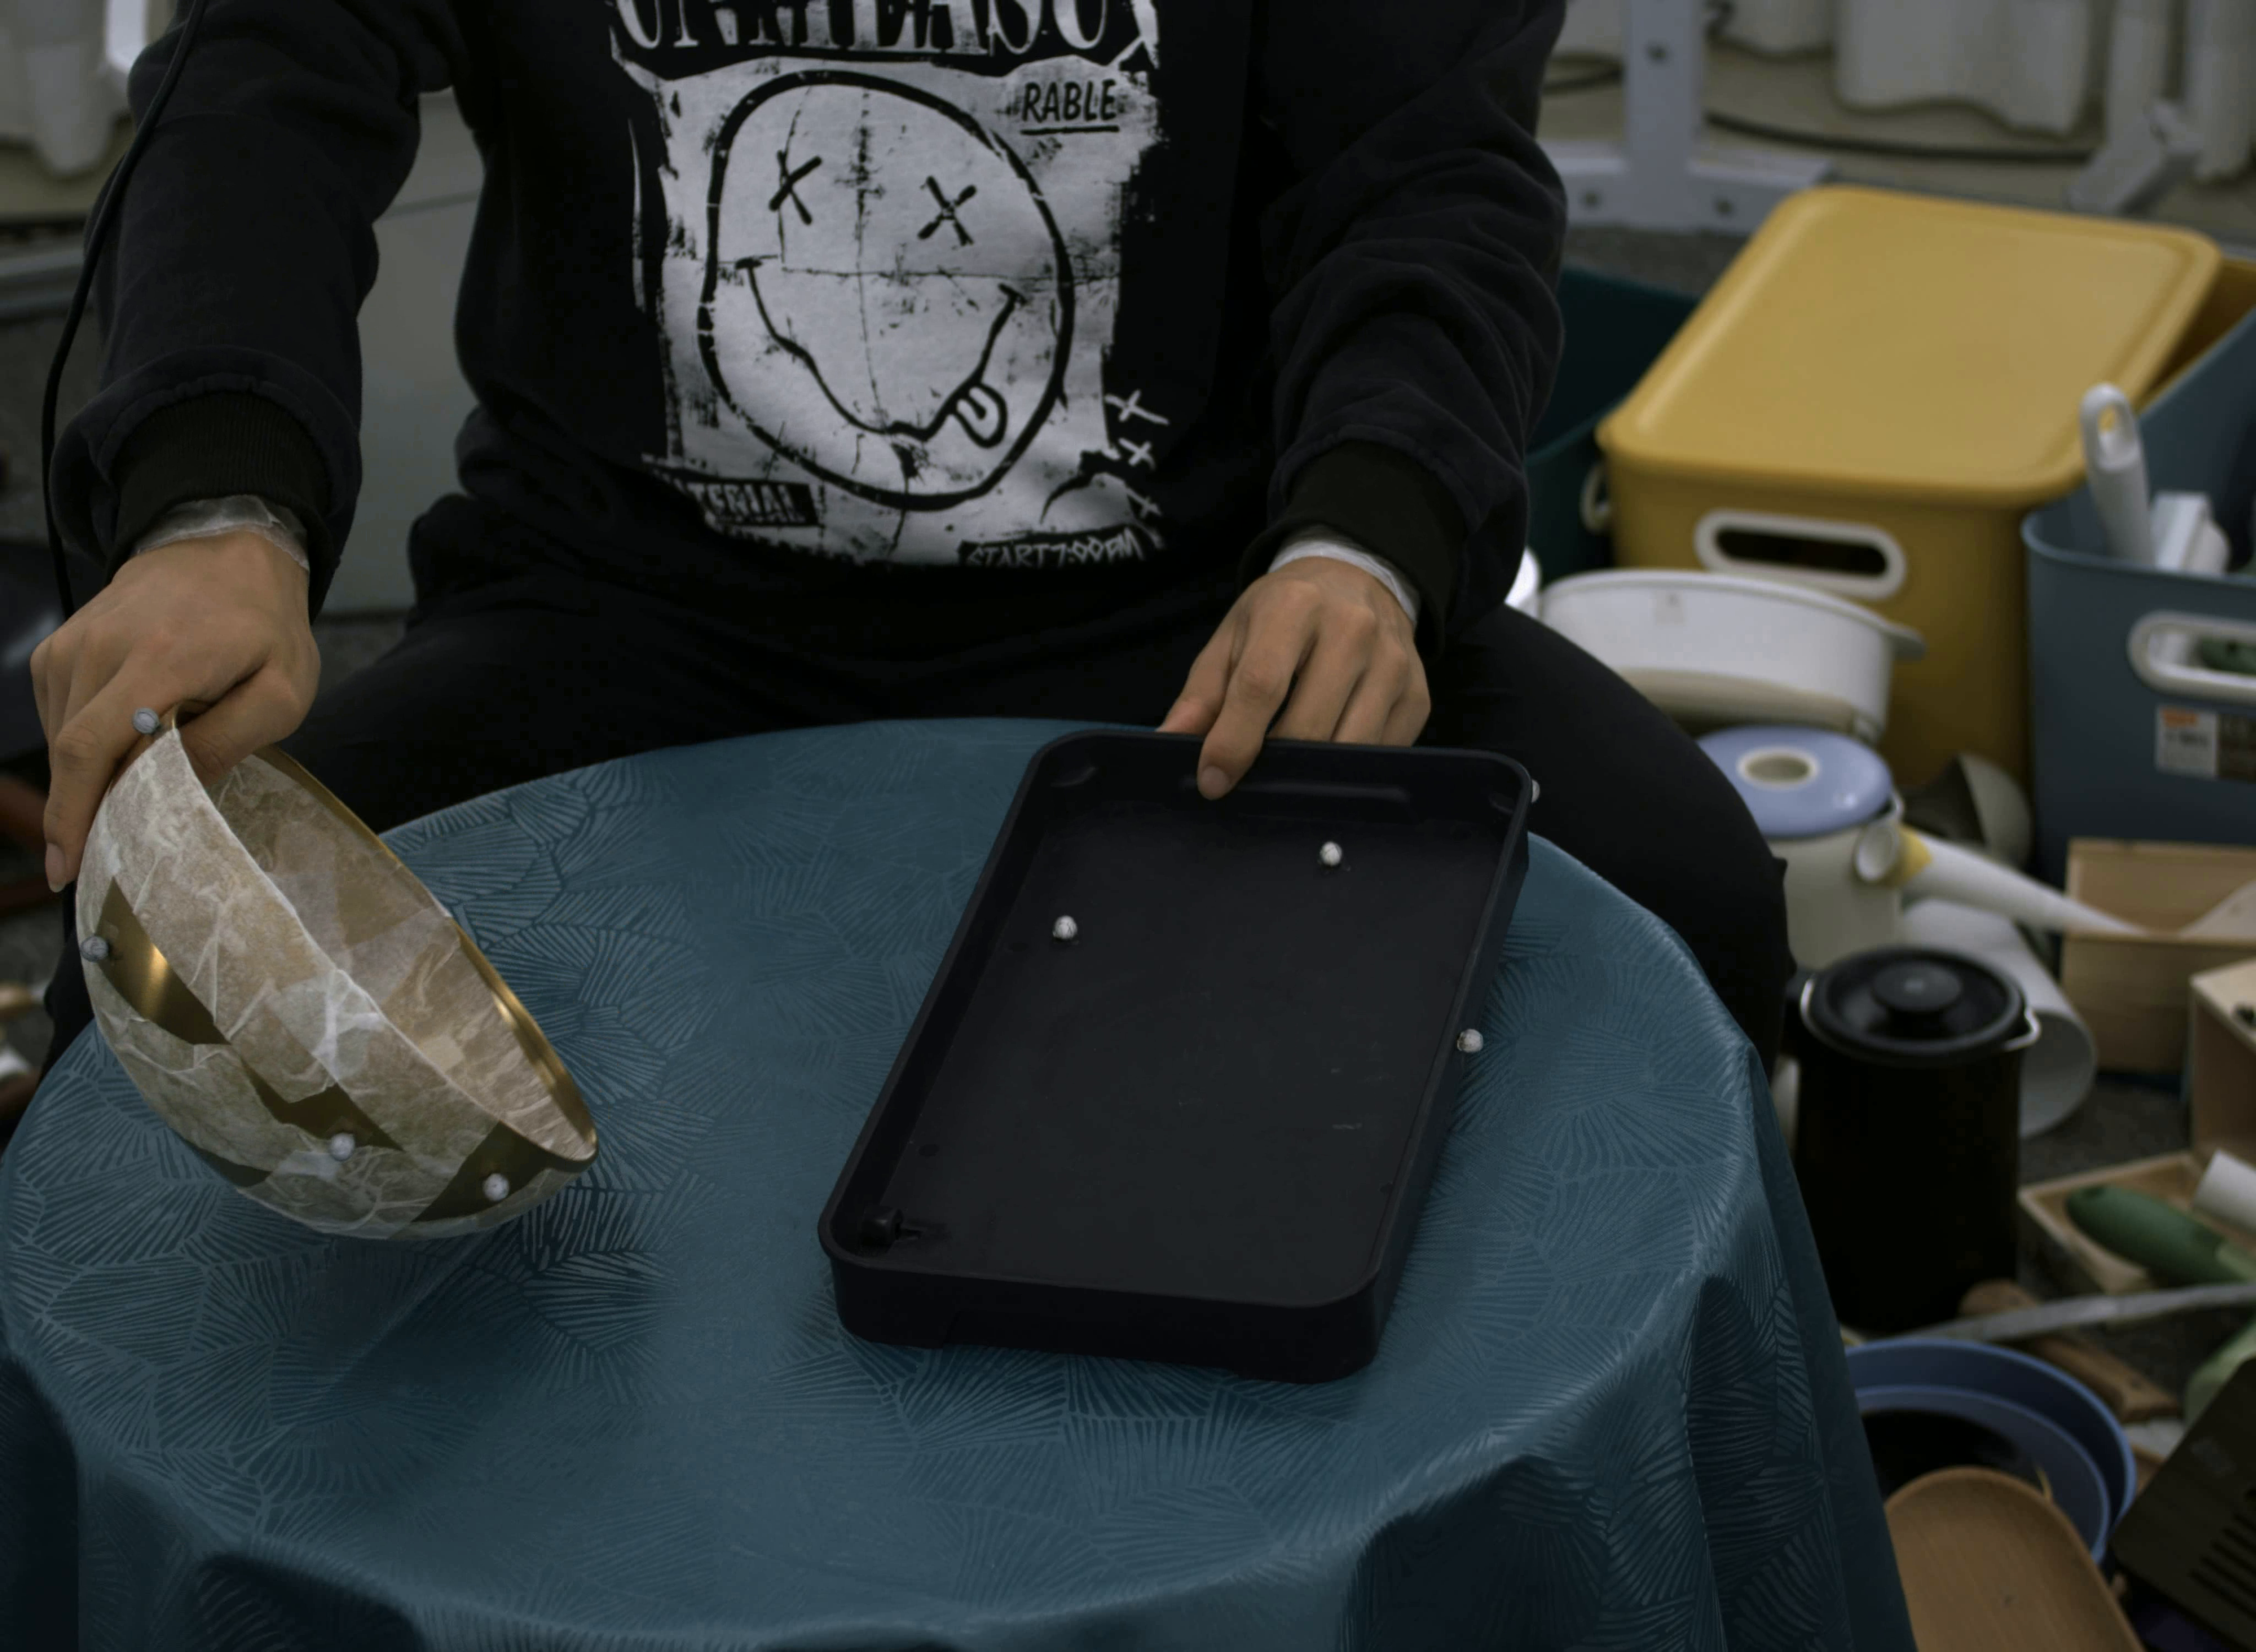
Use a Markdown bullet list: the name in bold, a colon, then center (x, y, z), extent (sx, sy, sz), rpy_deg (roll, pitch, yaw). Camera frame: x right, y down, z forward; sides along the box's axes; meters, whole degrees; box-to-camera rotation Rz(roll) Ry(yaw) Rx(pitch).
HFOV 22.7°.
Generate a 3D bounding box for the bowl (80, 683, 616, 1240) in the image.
- **bowl**: center (-0.265, 0.064, 1.809), extent (0.094, 0.213, 0.217), rpy_deg (-43, 31, 4)

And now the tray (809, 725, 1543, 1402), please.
- **tray**: center (0.023, 0.073, 1.890), extent (0.183, 0.036, 0.324), rpy_deg (6, 35, 14)
